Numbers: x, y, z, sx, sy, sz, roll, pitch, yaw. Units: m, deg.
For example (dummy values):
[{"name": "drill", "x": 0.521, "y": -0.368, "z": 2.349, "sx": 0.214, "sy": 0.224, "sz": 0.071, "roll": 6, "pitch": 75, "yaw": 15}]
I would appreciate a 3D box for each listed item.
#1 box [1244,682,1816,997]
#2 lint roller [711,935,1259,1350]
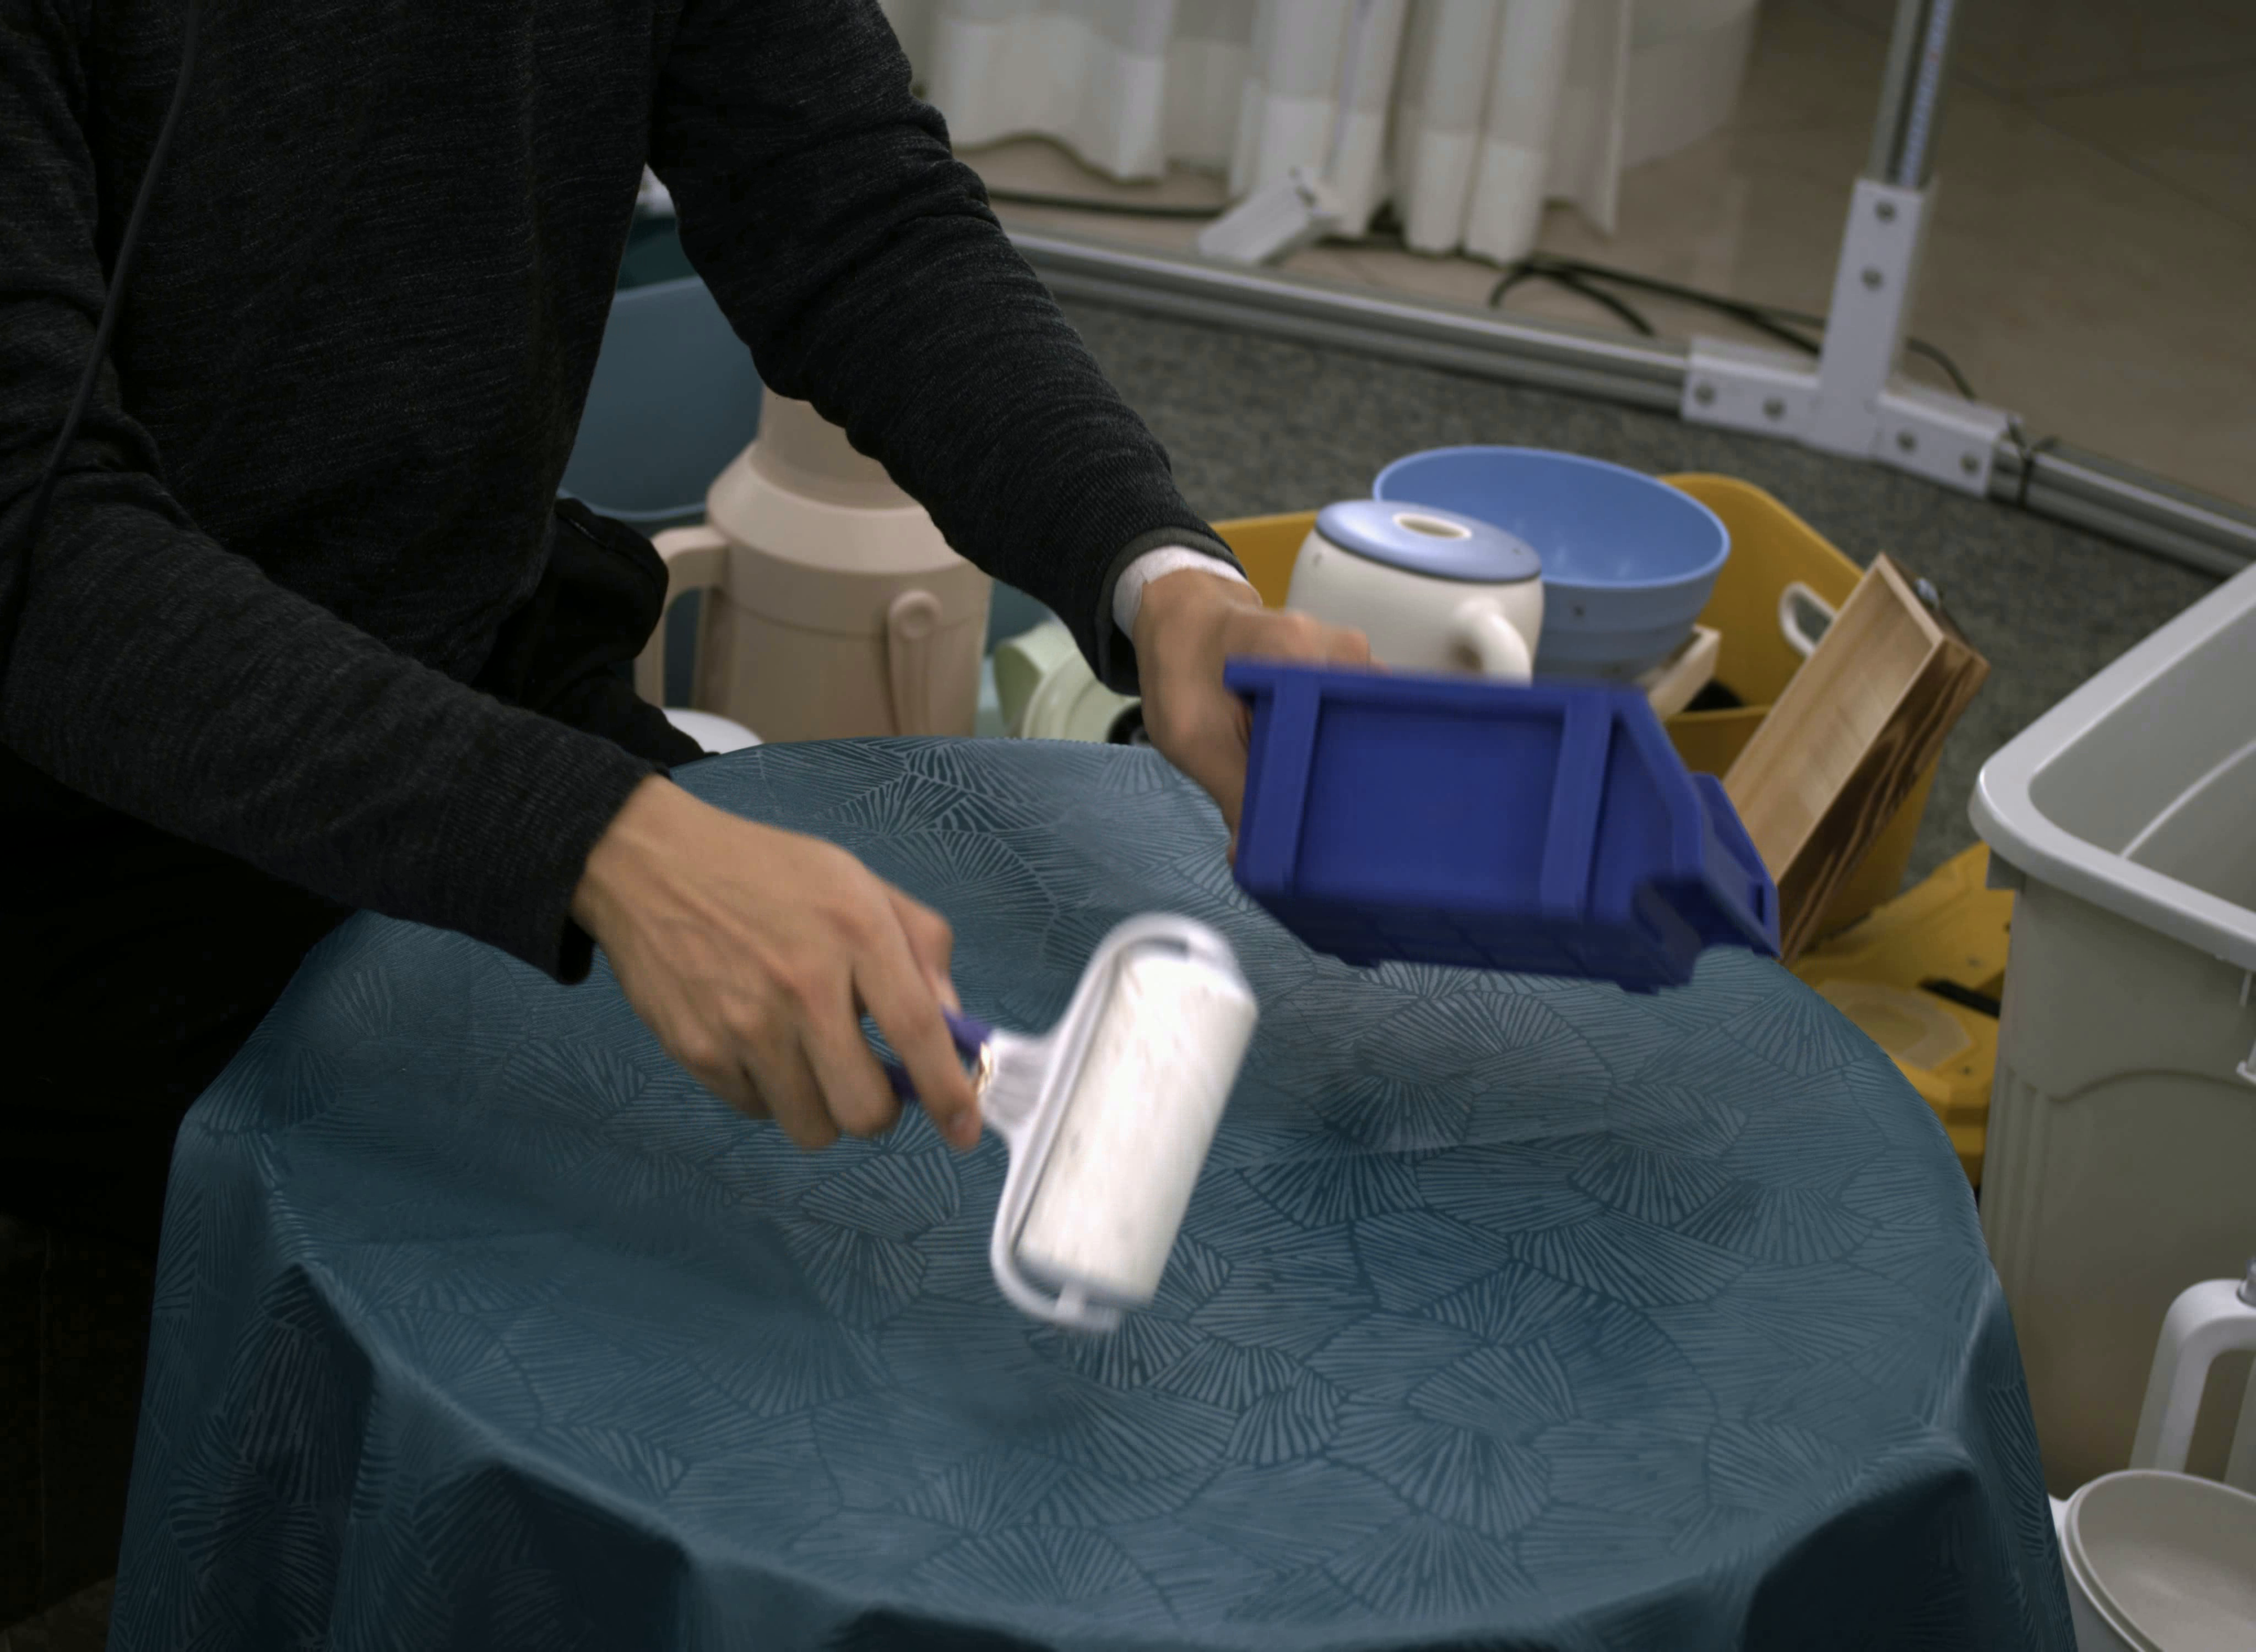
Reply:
[{"name": "box", "x": 0.140, "y": 0.007, "z": 1.845, "sx": 0.180, "sy": 0.082, "sz": 0.123, "roll": 2, "pitch": -13, "yaw": 22}, {"name": "lint roller", "x": -0.056, "y": 0.077, "z": 1.690, "sx": 0.181, "sy": 0.133, "sz": 0.050, "roll": 22, "pitch": -6, "yaw": 16}]
